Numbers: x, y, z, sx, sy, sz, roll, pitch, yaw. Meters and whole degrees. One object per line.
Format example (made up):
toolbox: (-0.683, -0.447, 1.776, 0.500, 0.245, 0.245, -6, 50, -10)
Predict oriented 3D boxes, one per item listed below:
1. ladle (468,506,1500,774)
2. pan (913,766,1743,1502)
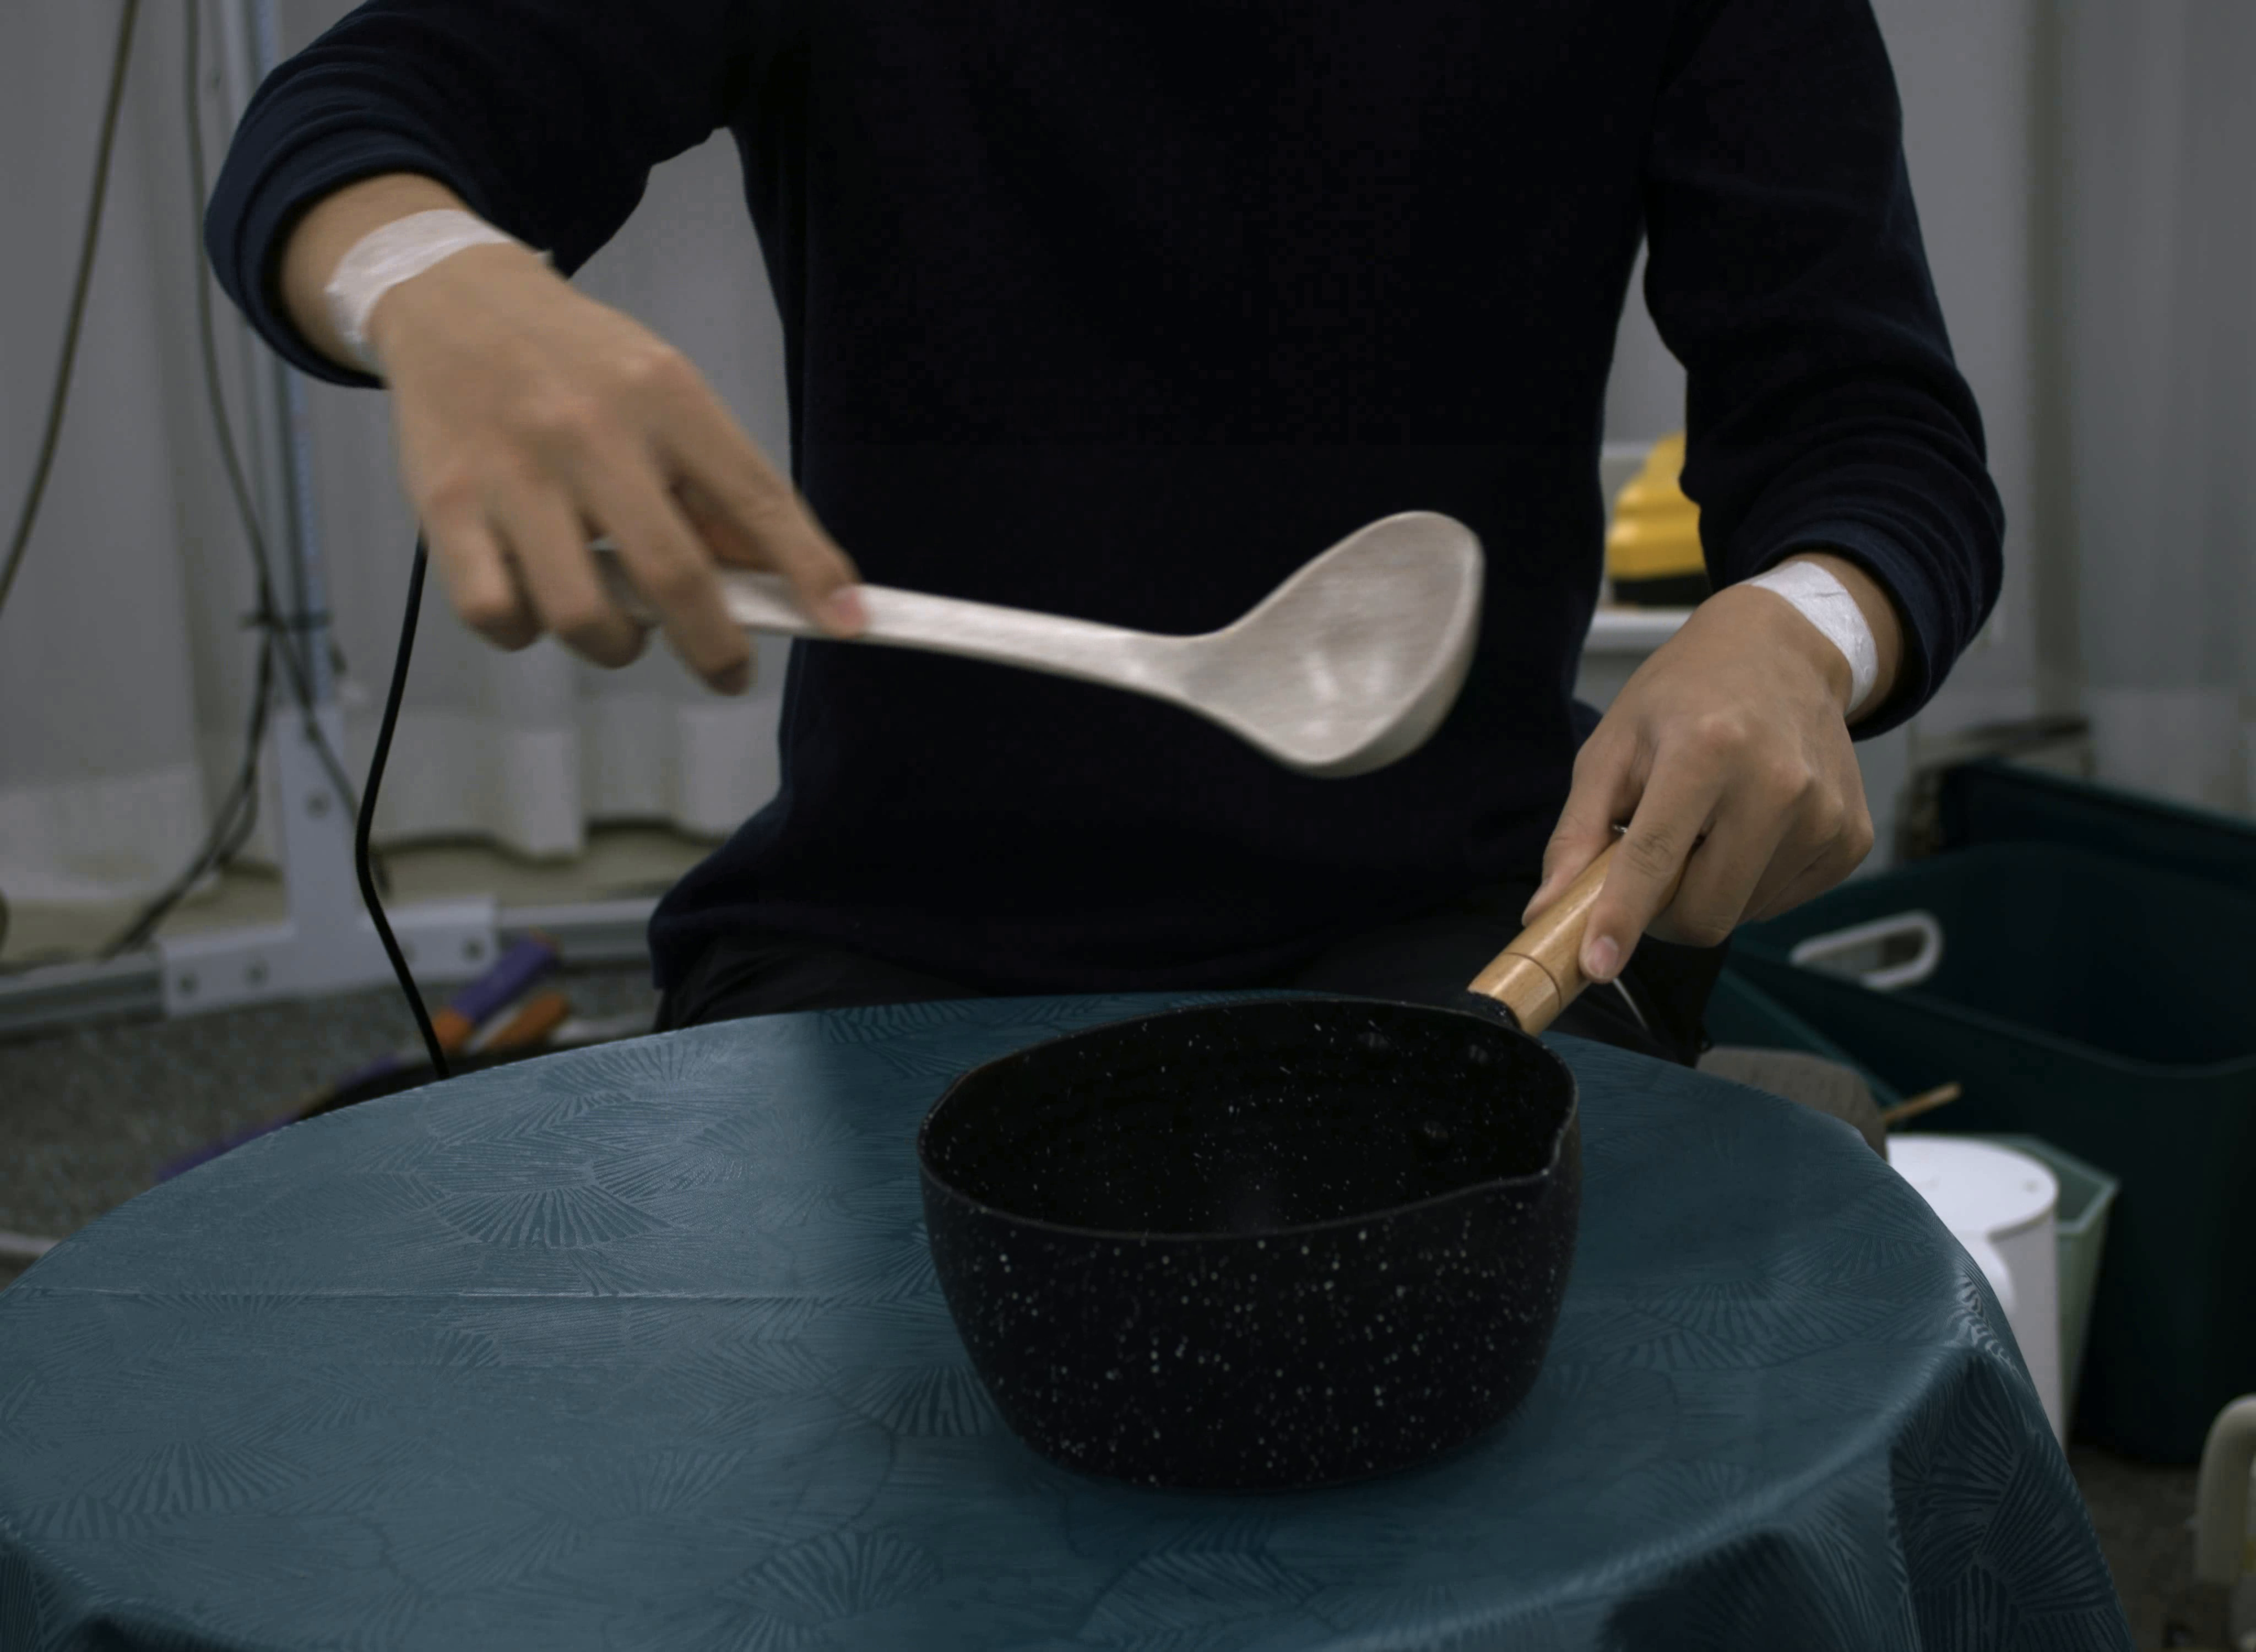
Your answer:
ladle: (-0.038, -0.069, 1.471, 0.273, 0.068, 0.091, 10, 45, -6)
pan: (0.081, 0.084, 1.577, 0.208, 0.107, 0.343, 6, 22, 36)
